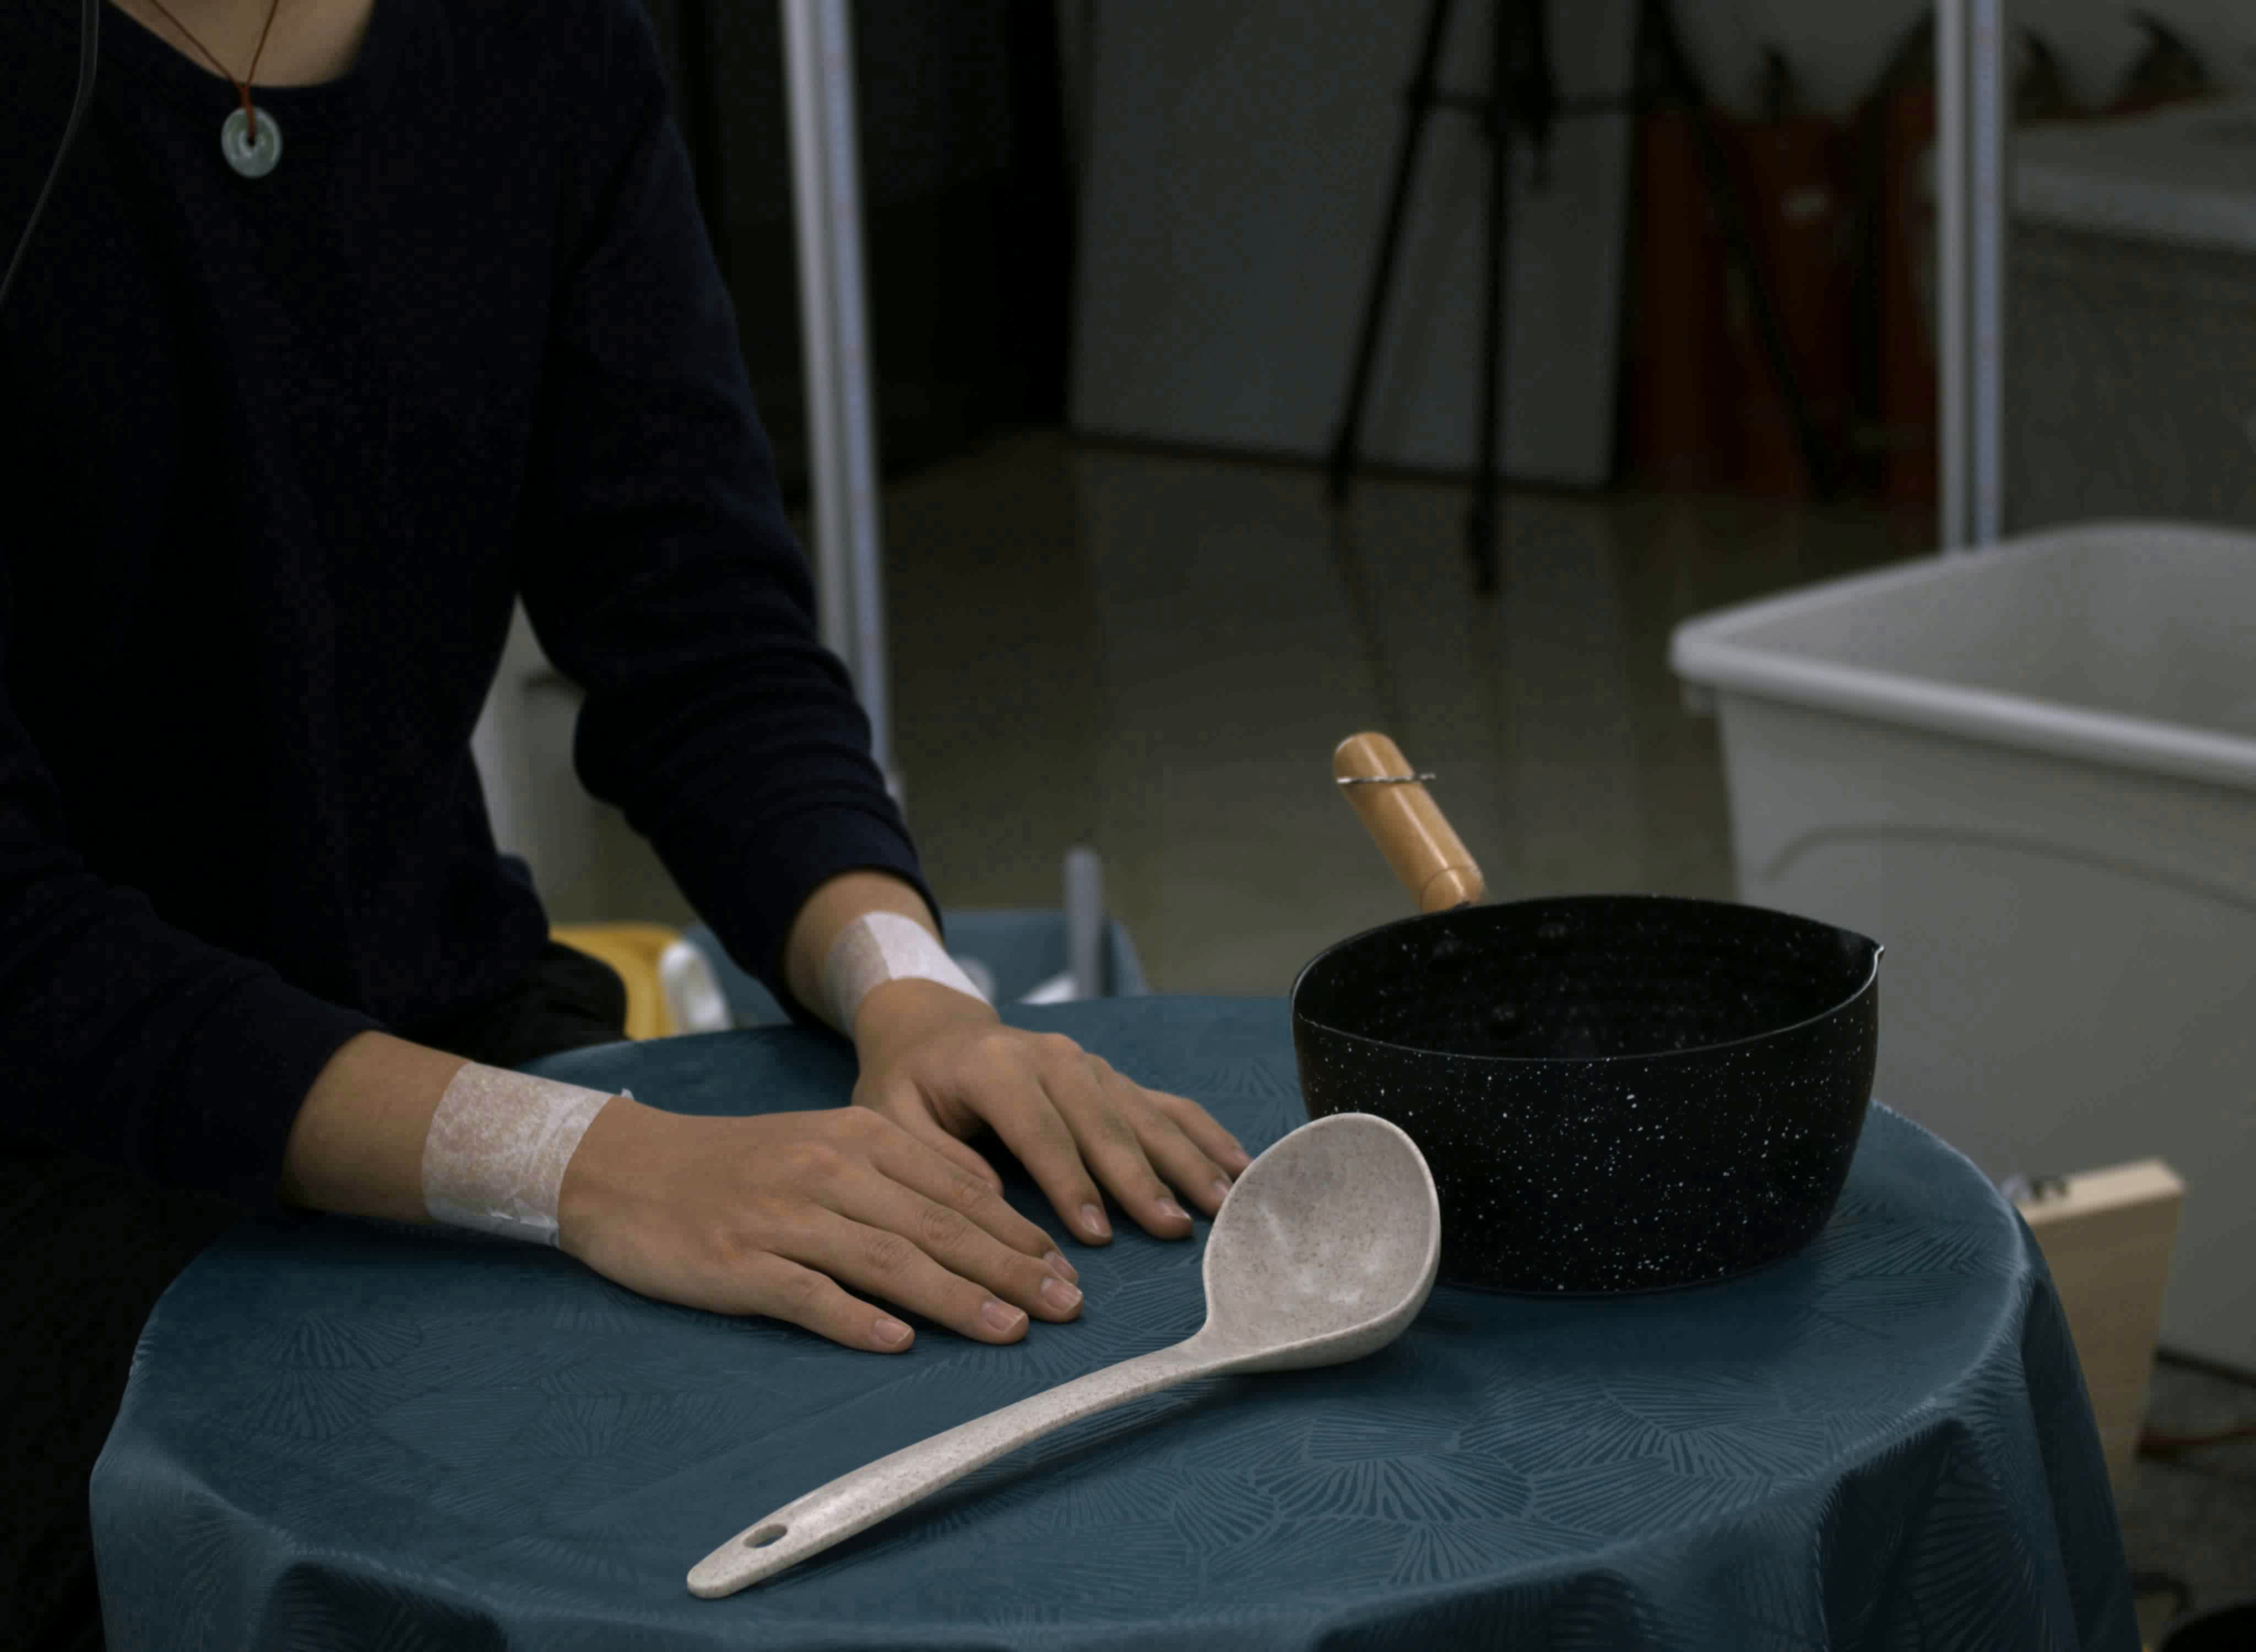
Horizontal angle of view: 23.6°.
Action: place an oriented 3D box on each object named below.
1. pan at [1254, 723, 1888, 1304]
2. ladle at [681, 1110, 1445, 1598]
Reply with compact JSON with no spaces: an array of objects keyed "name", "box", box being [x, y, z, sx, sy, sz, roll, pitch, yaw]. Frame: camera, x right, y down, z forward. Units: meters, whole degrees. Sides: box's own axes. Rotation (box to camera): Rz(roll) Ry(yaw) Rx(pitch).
[{"name":"pan","box":[0.124,0.056,1.769,0.203,0.109,0.345,-8,16,-13]},{"name":"ladle","box":[-0.019,0.146,1.530,0.269,0.070,0.090,-16,22,-40]}]
